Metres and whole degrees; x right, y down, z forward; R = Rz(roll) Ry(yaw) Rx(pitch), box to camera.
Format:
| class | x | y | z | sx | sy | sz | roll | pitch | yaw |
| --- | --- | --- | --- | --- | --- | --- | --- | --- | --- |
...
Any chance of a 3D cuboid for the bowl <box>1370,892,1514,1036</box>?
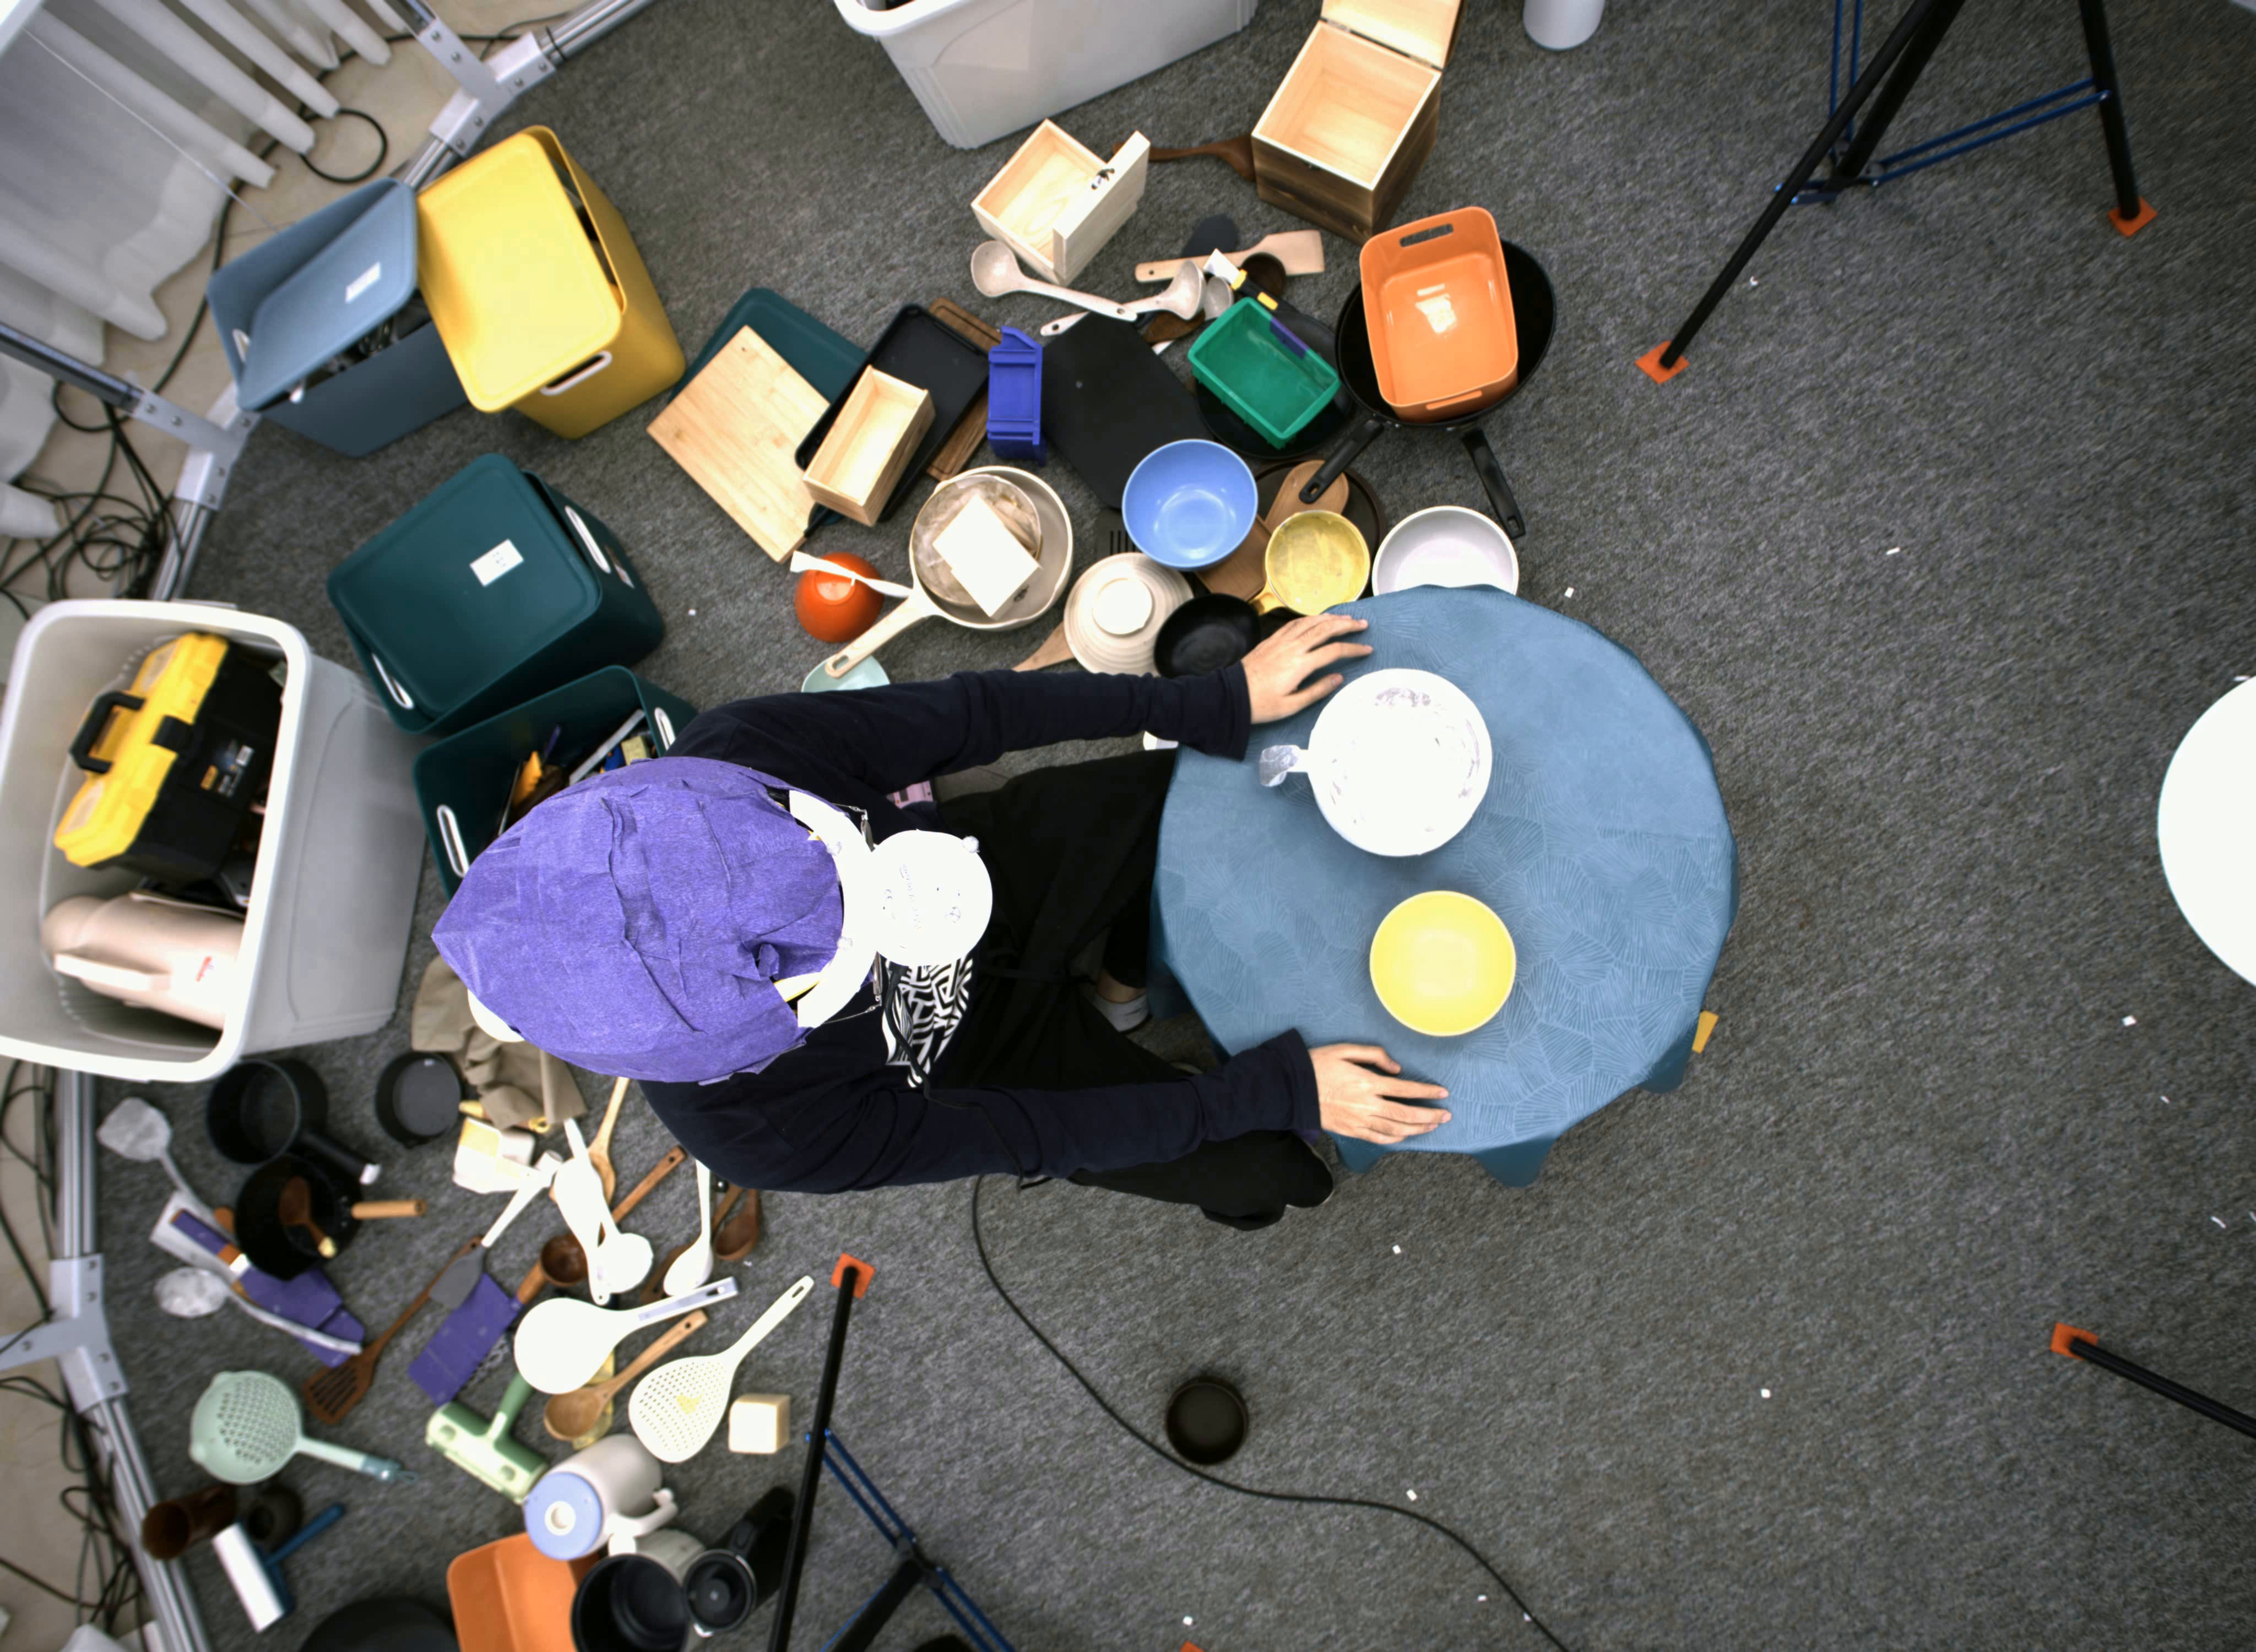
| class | x | y | z | sx | sy | sz | roll | pitch | yaw |
| --- | --- | --- | --- | --- | --- | --- | --- | --- | --- |
| bowl | 0.320 | 0.140 | 1.415 | 0.146 | 0.060 | 0.144 | -1 | 85 | 9 |

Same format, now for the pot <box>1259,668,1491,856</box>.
| class | x | y | z | sx | sy | sz | roll | pitch | yaw |
| --- | --- | --- | --- | --- | --- | --- | --- | --- | --- |
| pot | 0.247 | -0.062 | 1.405 | 0.234 | 0.136 | 0.178 | 1 | 86 | 12 |
